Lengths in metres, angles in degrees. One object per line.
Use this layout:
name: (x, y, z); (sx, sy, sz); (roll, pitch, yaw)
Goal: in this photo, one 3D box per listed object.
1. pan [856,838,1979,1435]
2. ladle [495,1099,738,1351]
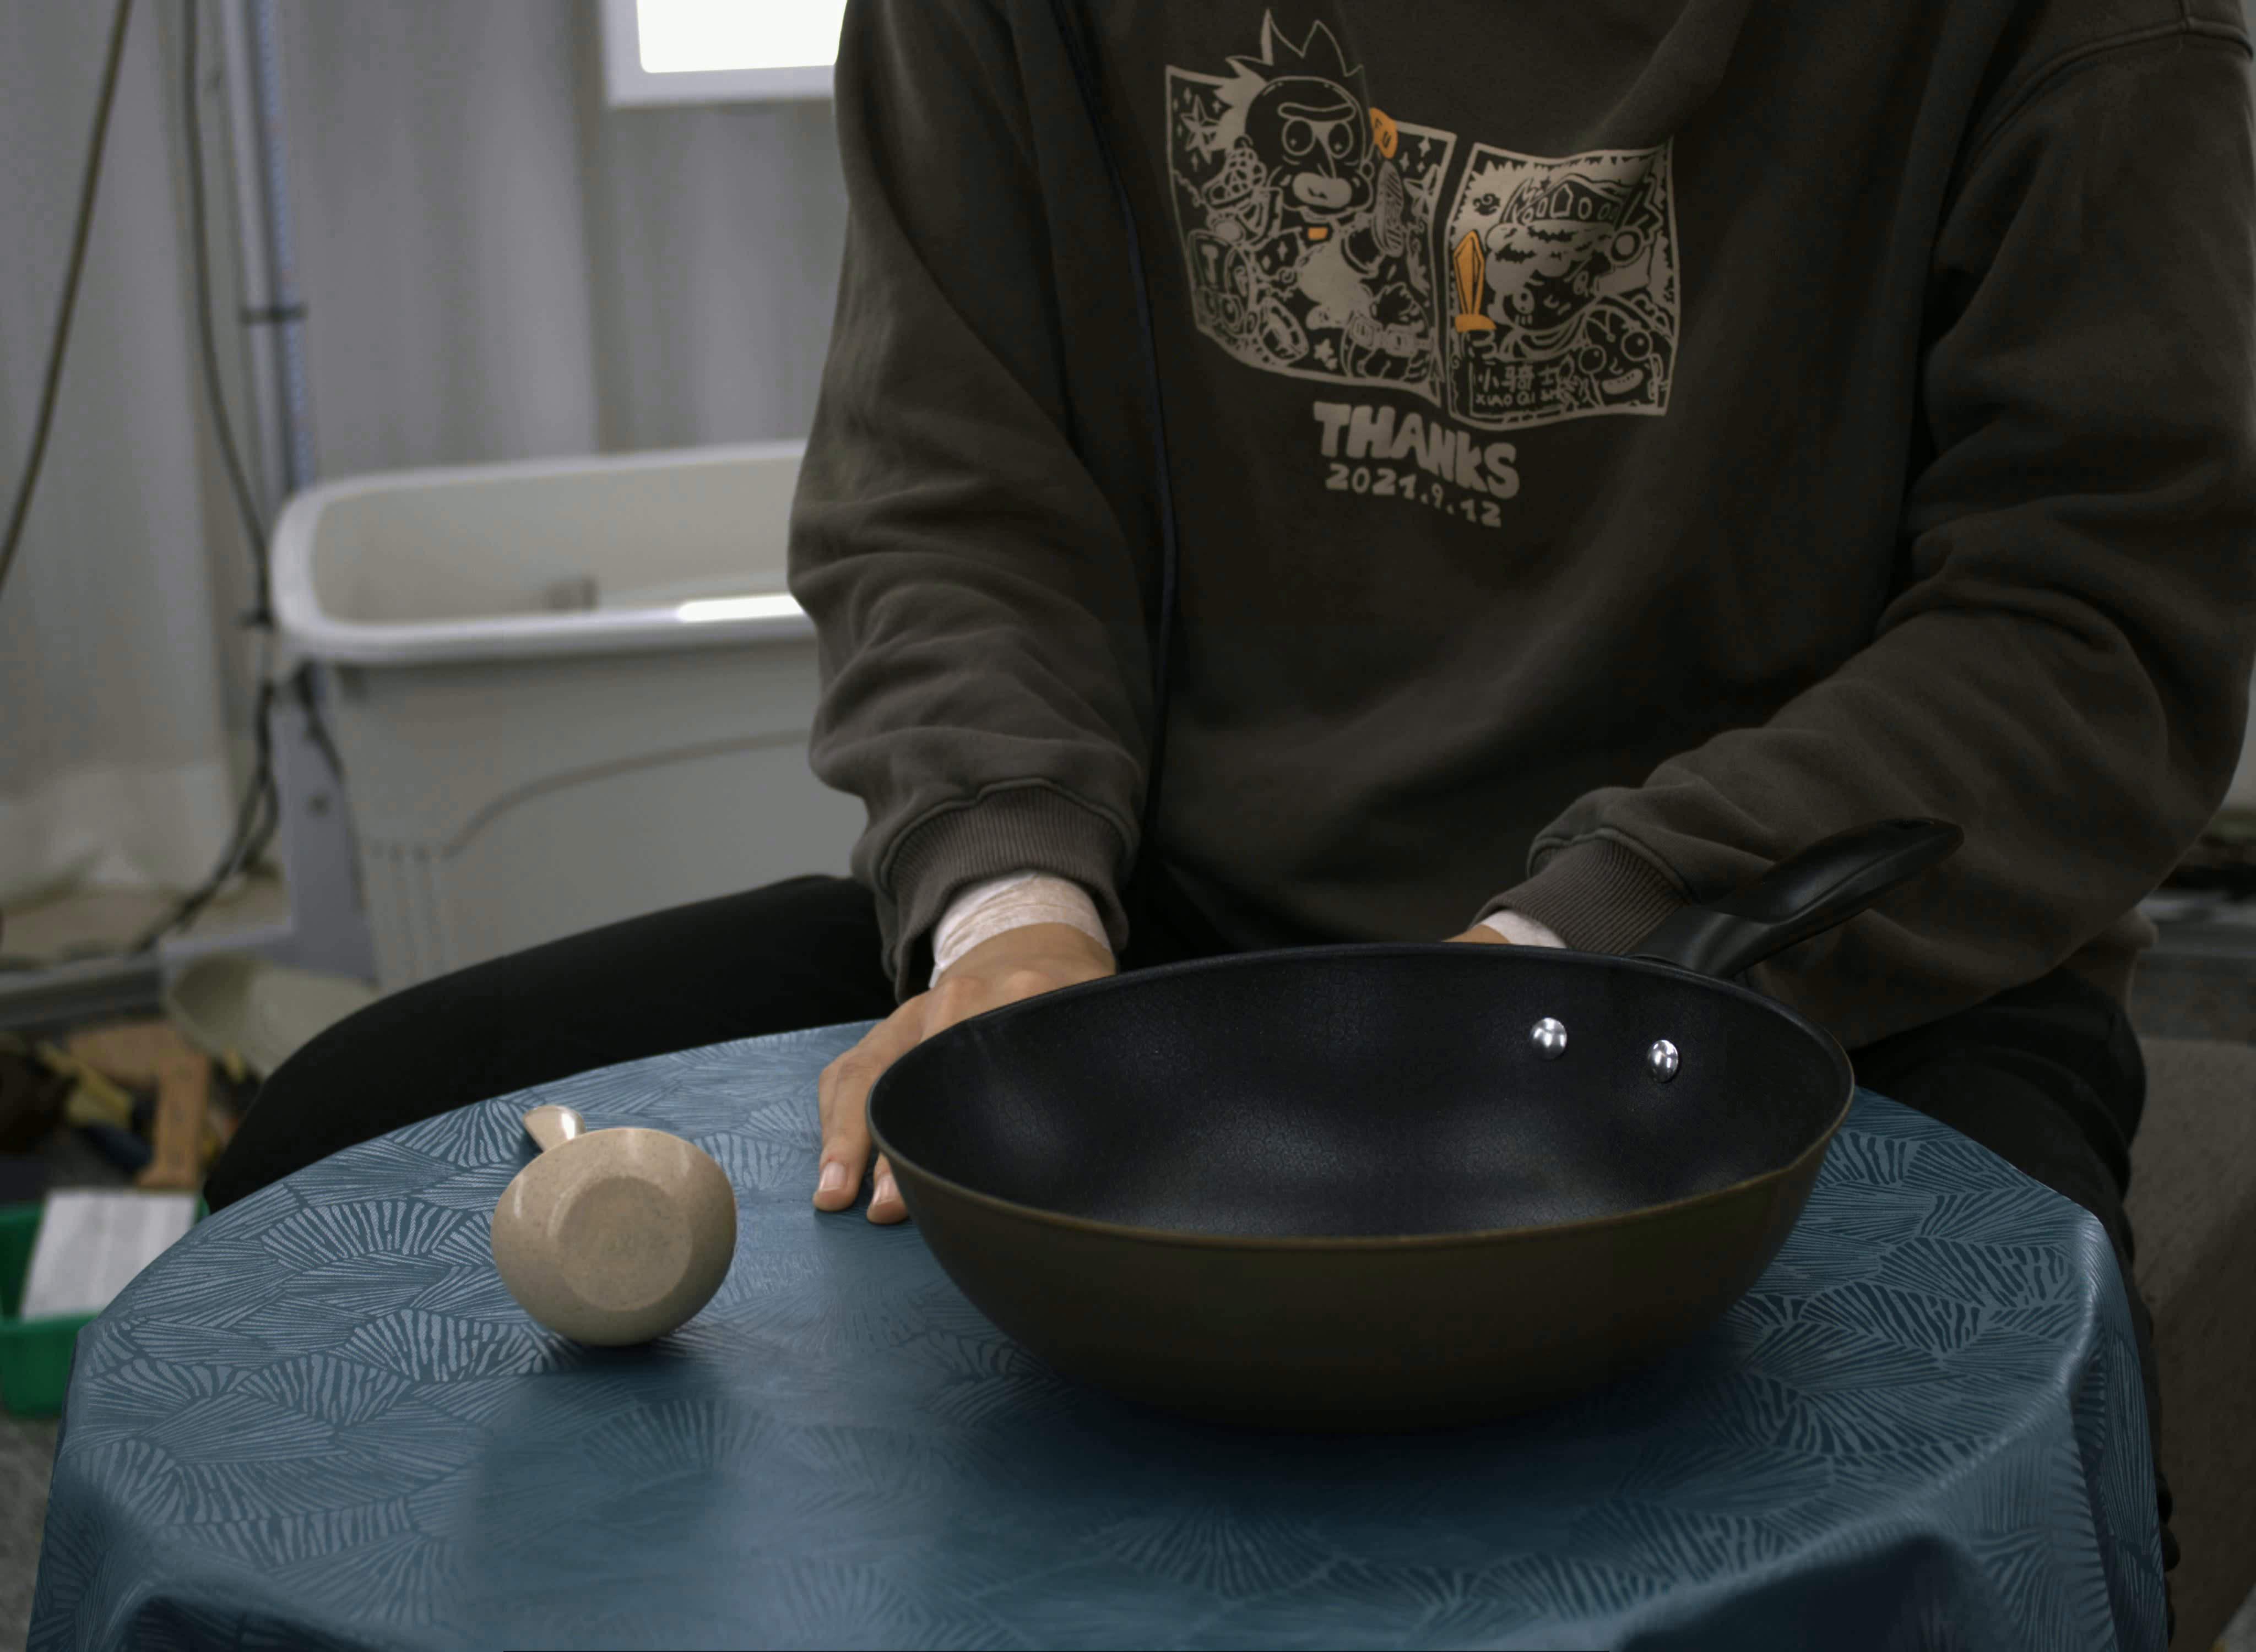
pan: (0.121, 0.089, 1.635); (0.289, 0.086, 0.463); (9, 18, 38)
ladle: (-0.173, 0.093, 1.695); (0.072, 0.072, 0.256); (-8, 17, -12)
